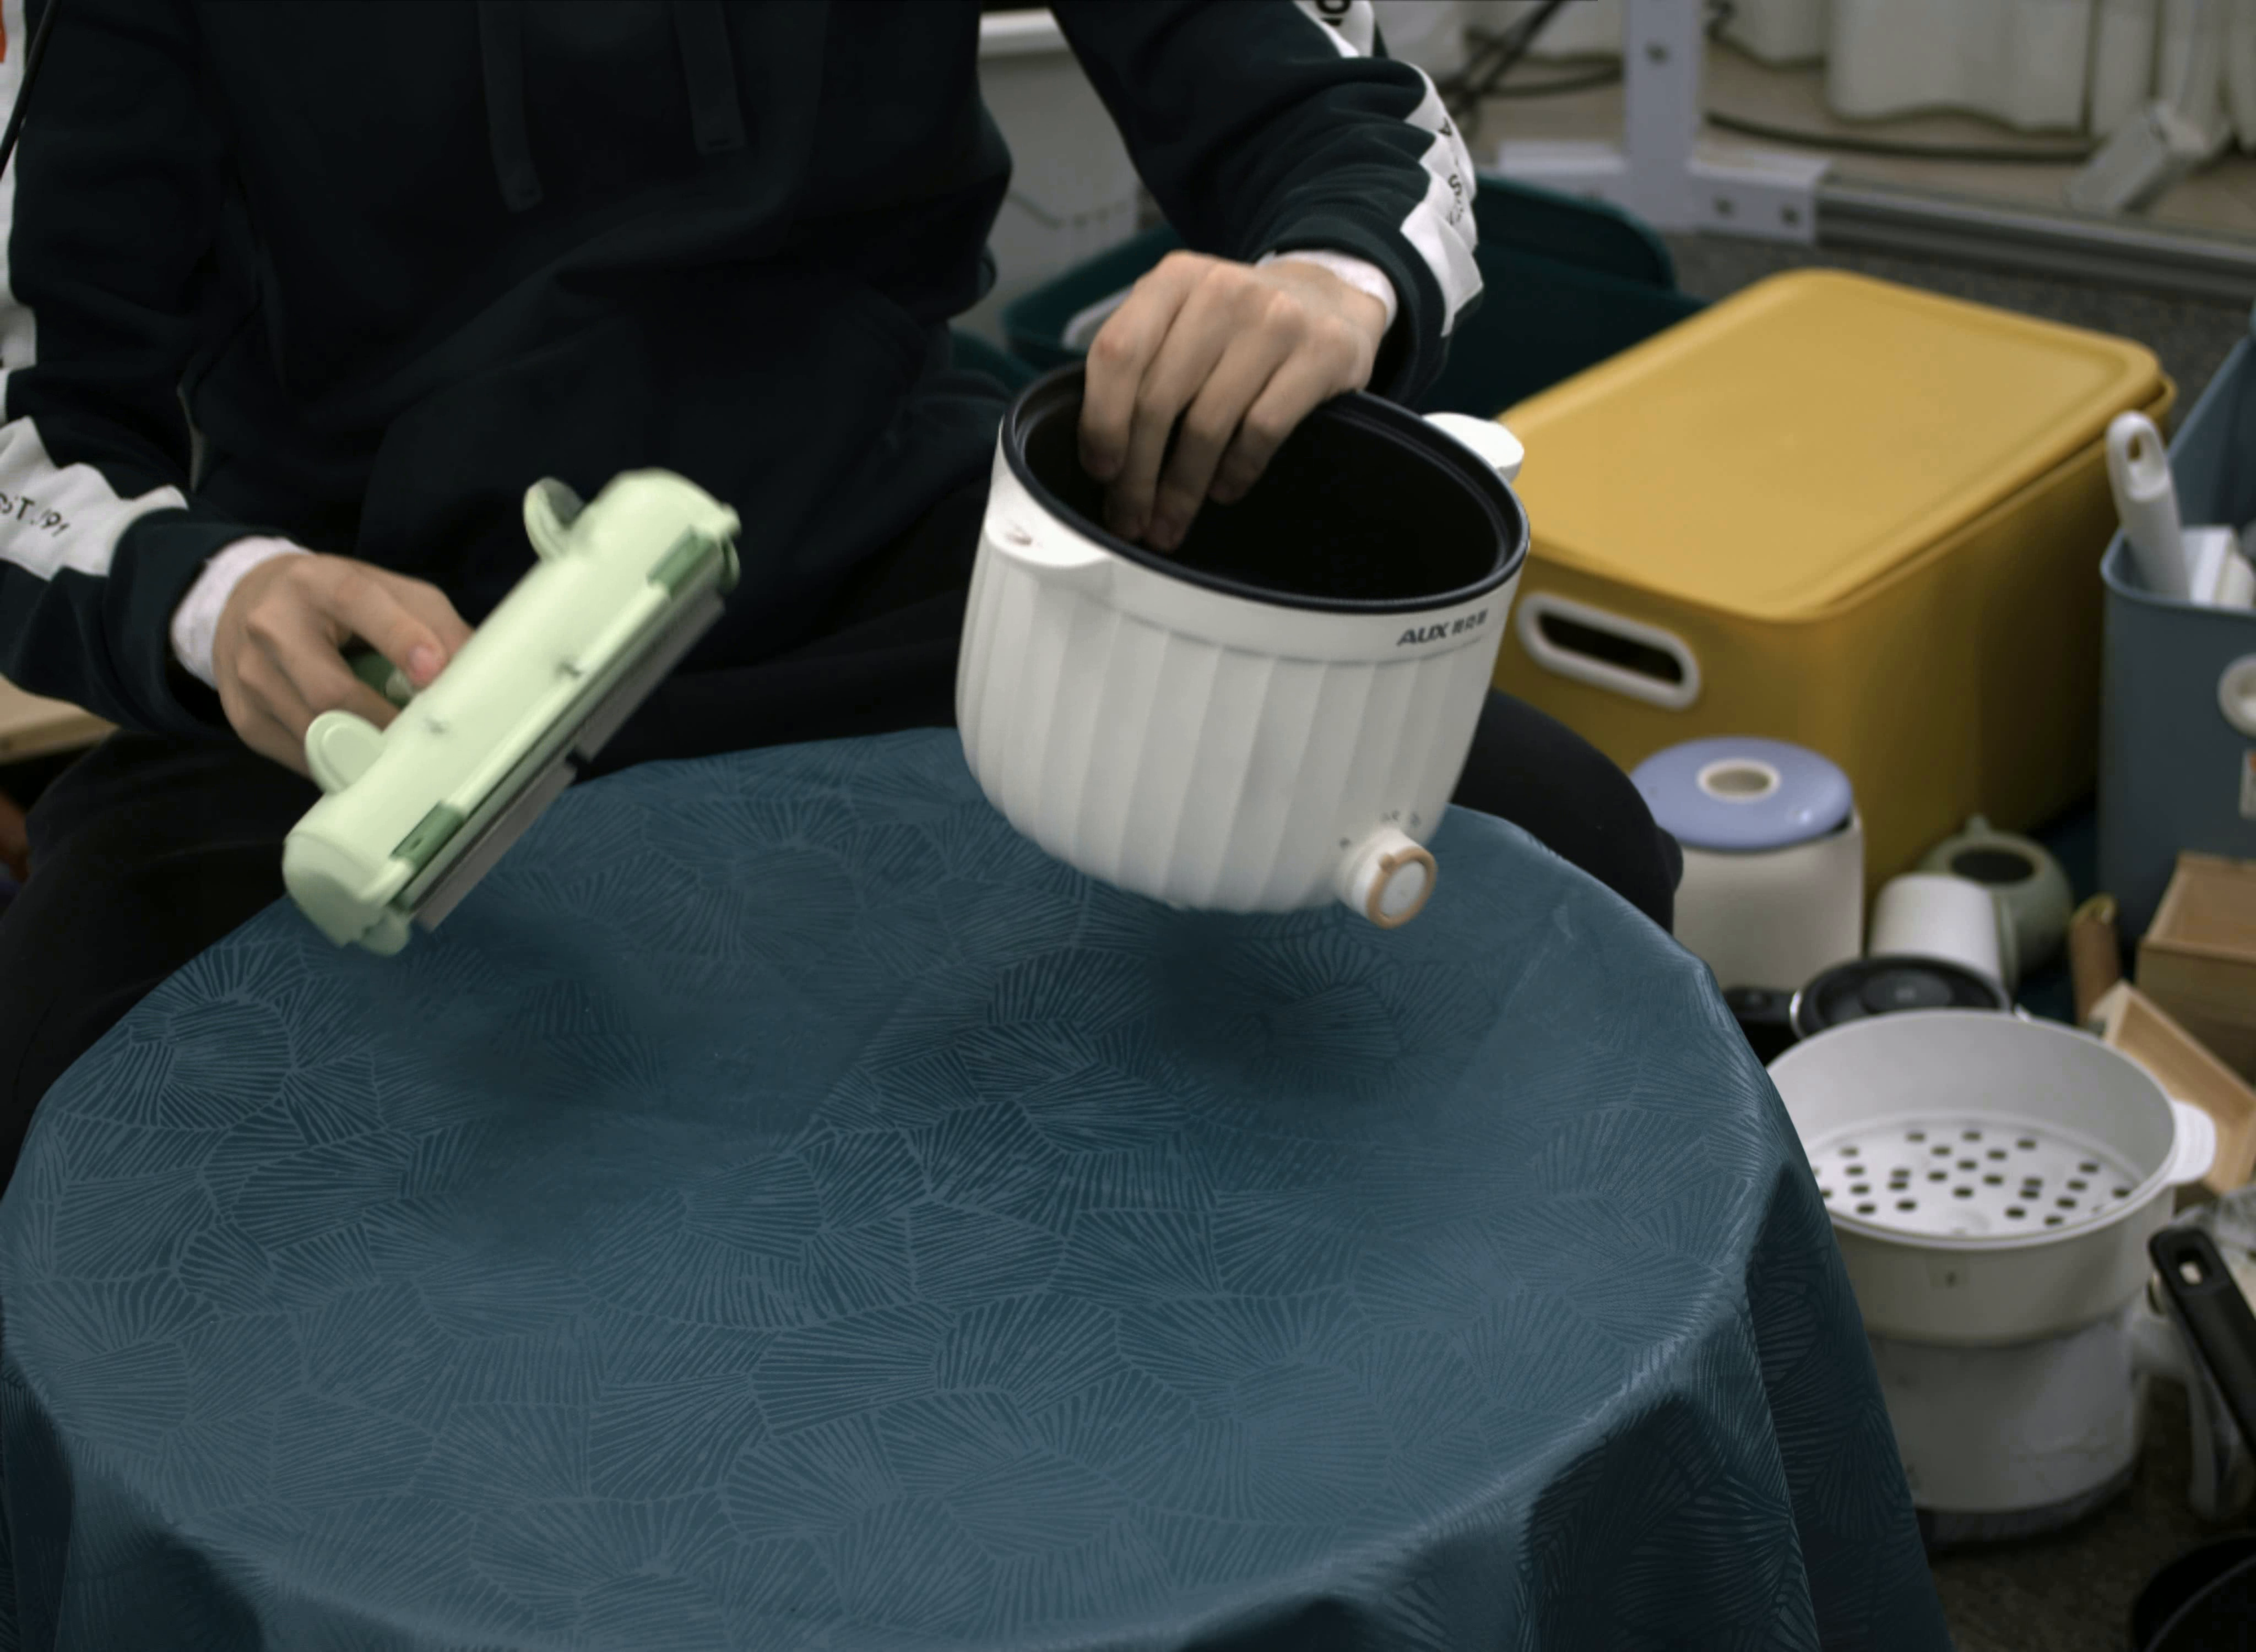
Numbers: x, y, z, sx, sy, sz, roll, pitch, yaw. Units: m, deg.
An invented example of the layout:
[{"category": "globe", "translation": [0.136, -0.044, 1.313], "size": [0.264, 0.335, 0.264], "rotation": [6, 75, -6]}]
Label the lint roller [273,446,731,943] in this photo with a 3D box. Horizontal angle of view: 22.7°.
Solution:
[{"category": "lint roller", "translation": [-0.250, -0.058, 1.943], "size": [0.182, 0.081, 0.202], "rotation": [10, 53, 42]}]

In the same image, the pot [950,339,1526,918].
[{"category": "pot", "translation": [0.036, -0.062, 1.910], "size": [0.242, 0.141, 0.191], "rotation": [-15, 37, -43]}]
